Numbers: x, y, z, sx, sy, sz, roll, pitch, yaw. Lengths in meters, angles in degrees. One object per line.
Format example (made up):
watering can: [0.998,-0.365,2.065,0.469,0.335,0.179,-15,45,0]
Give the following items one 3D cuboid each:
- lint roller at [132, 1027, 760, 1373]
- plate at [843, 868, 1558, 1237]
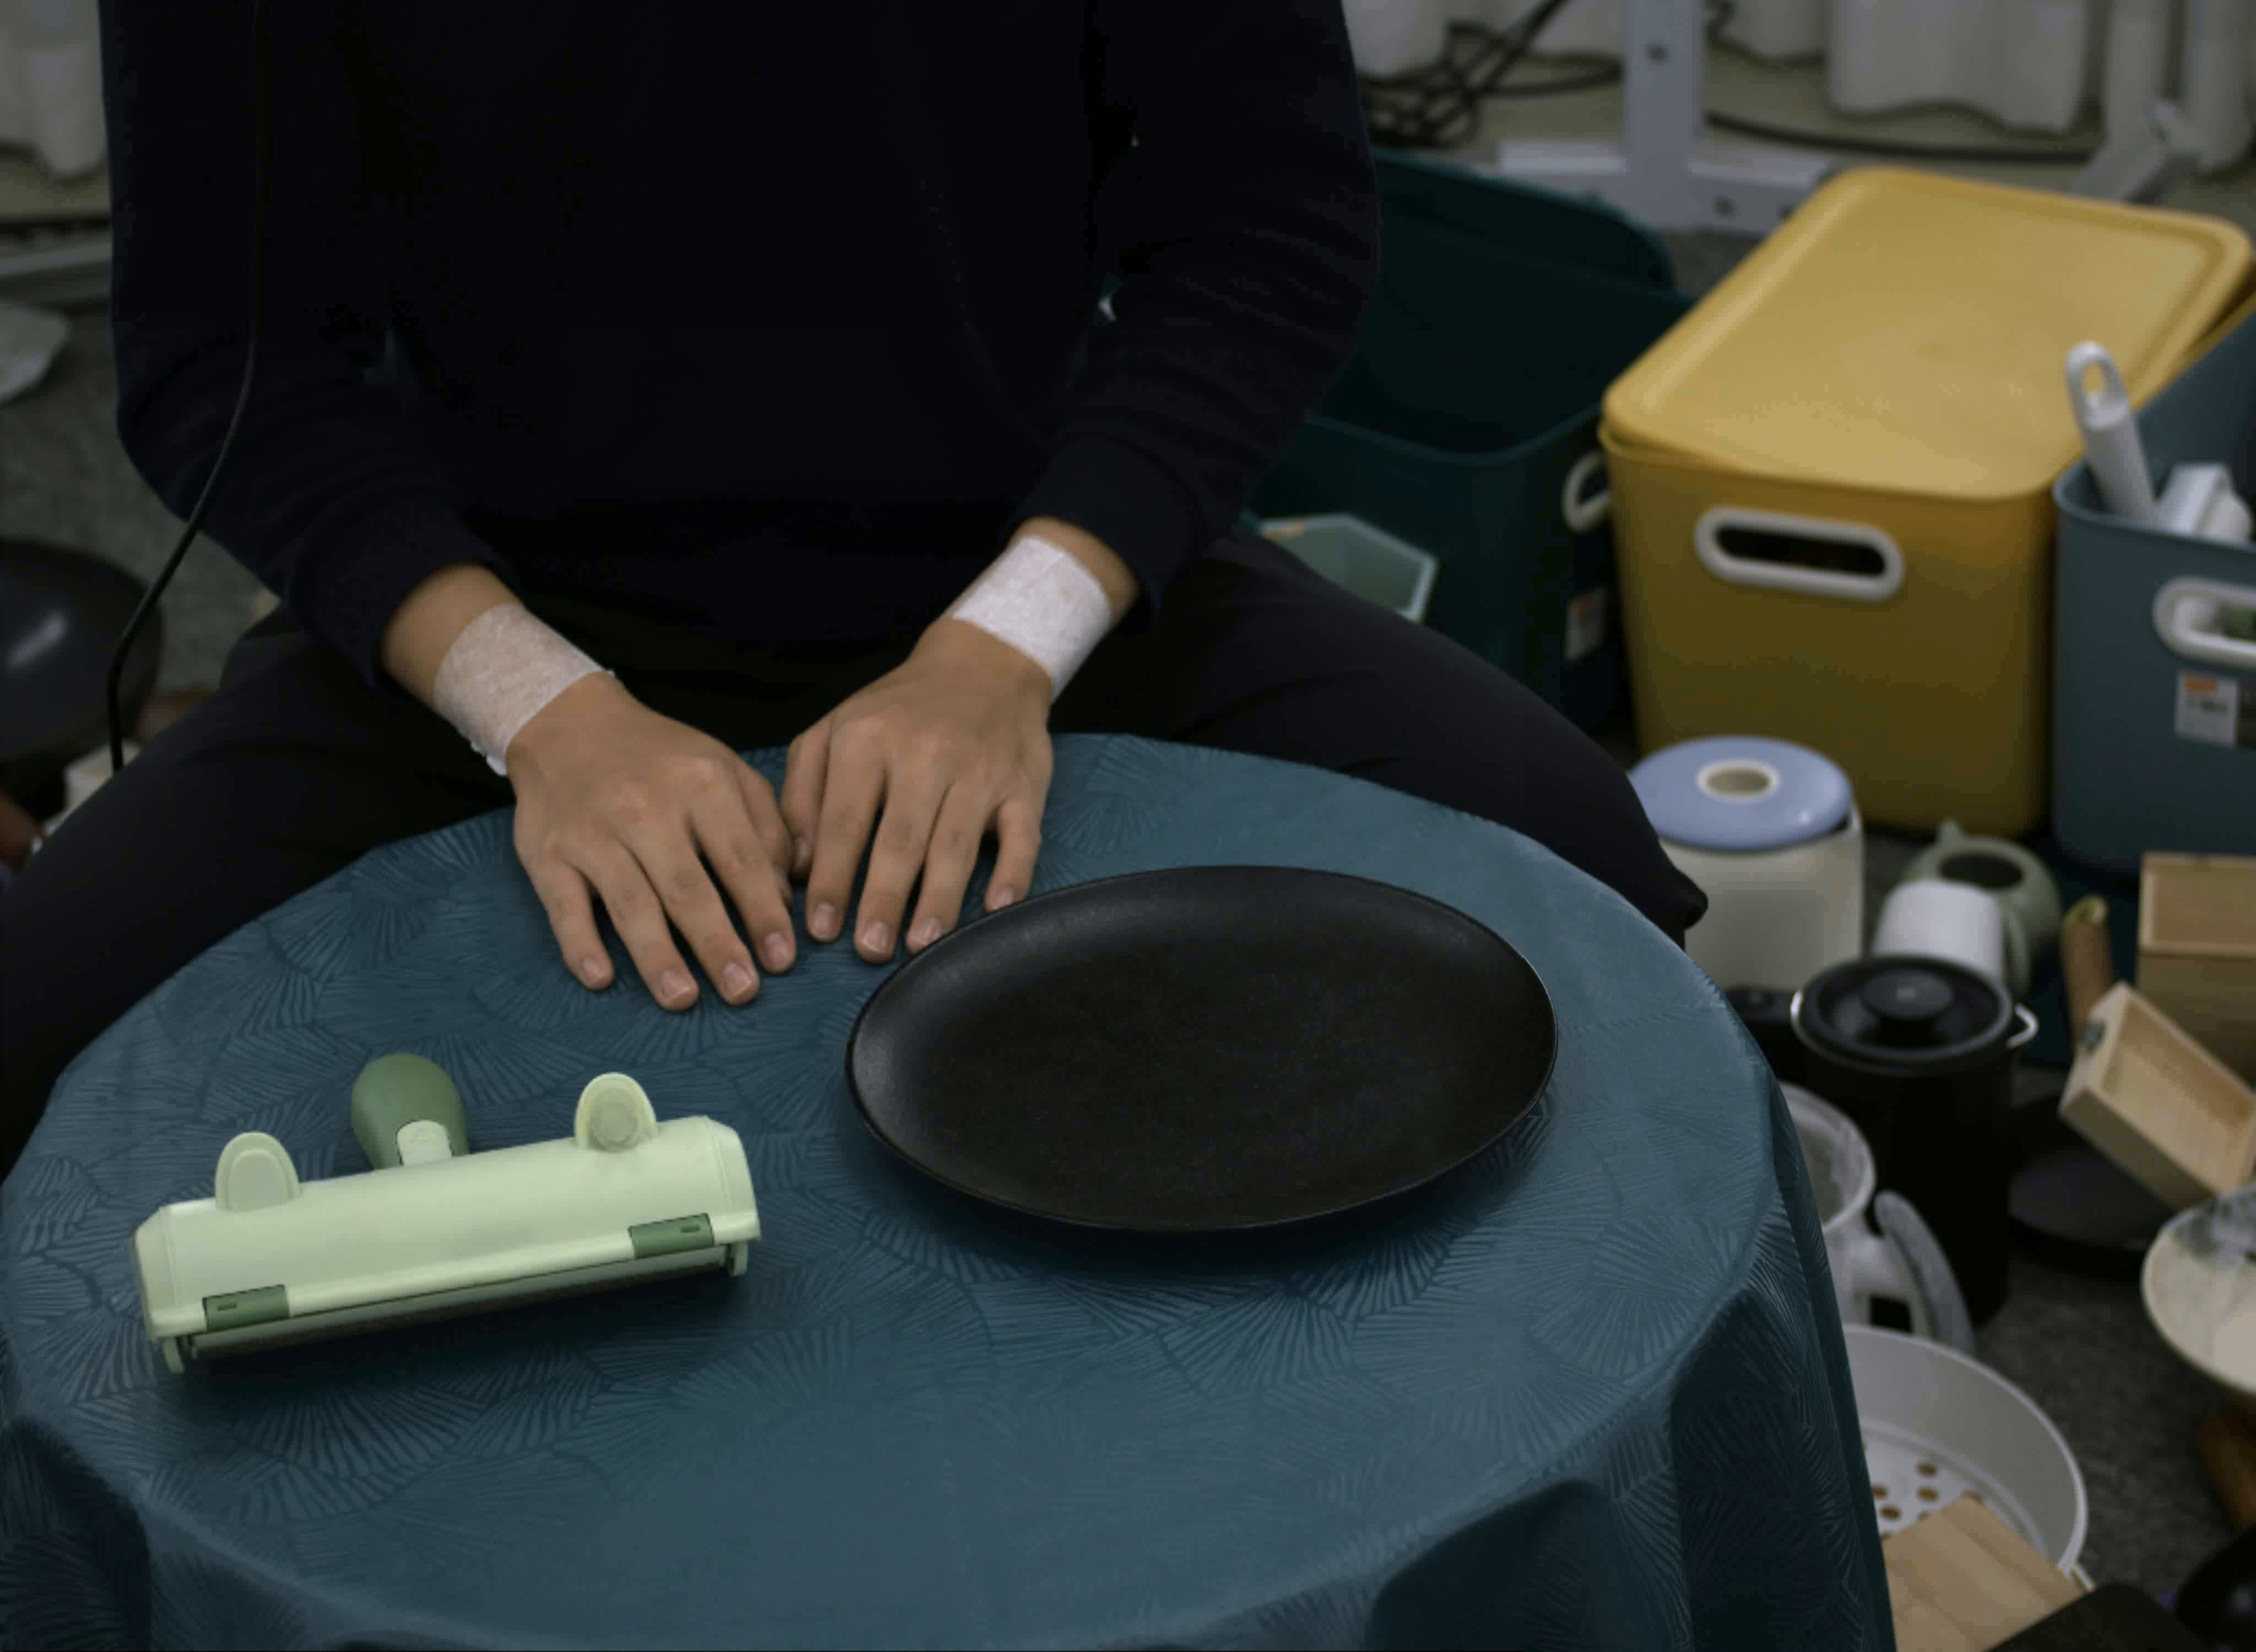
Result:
lint roller: [-0.233,0.098,1.840,0.198,0.081,0.185,-9,34,-13]
plate: [0.025,0.082,1.910,0.243,0.023,0.248,-2,27,1]
